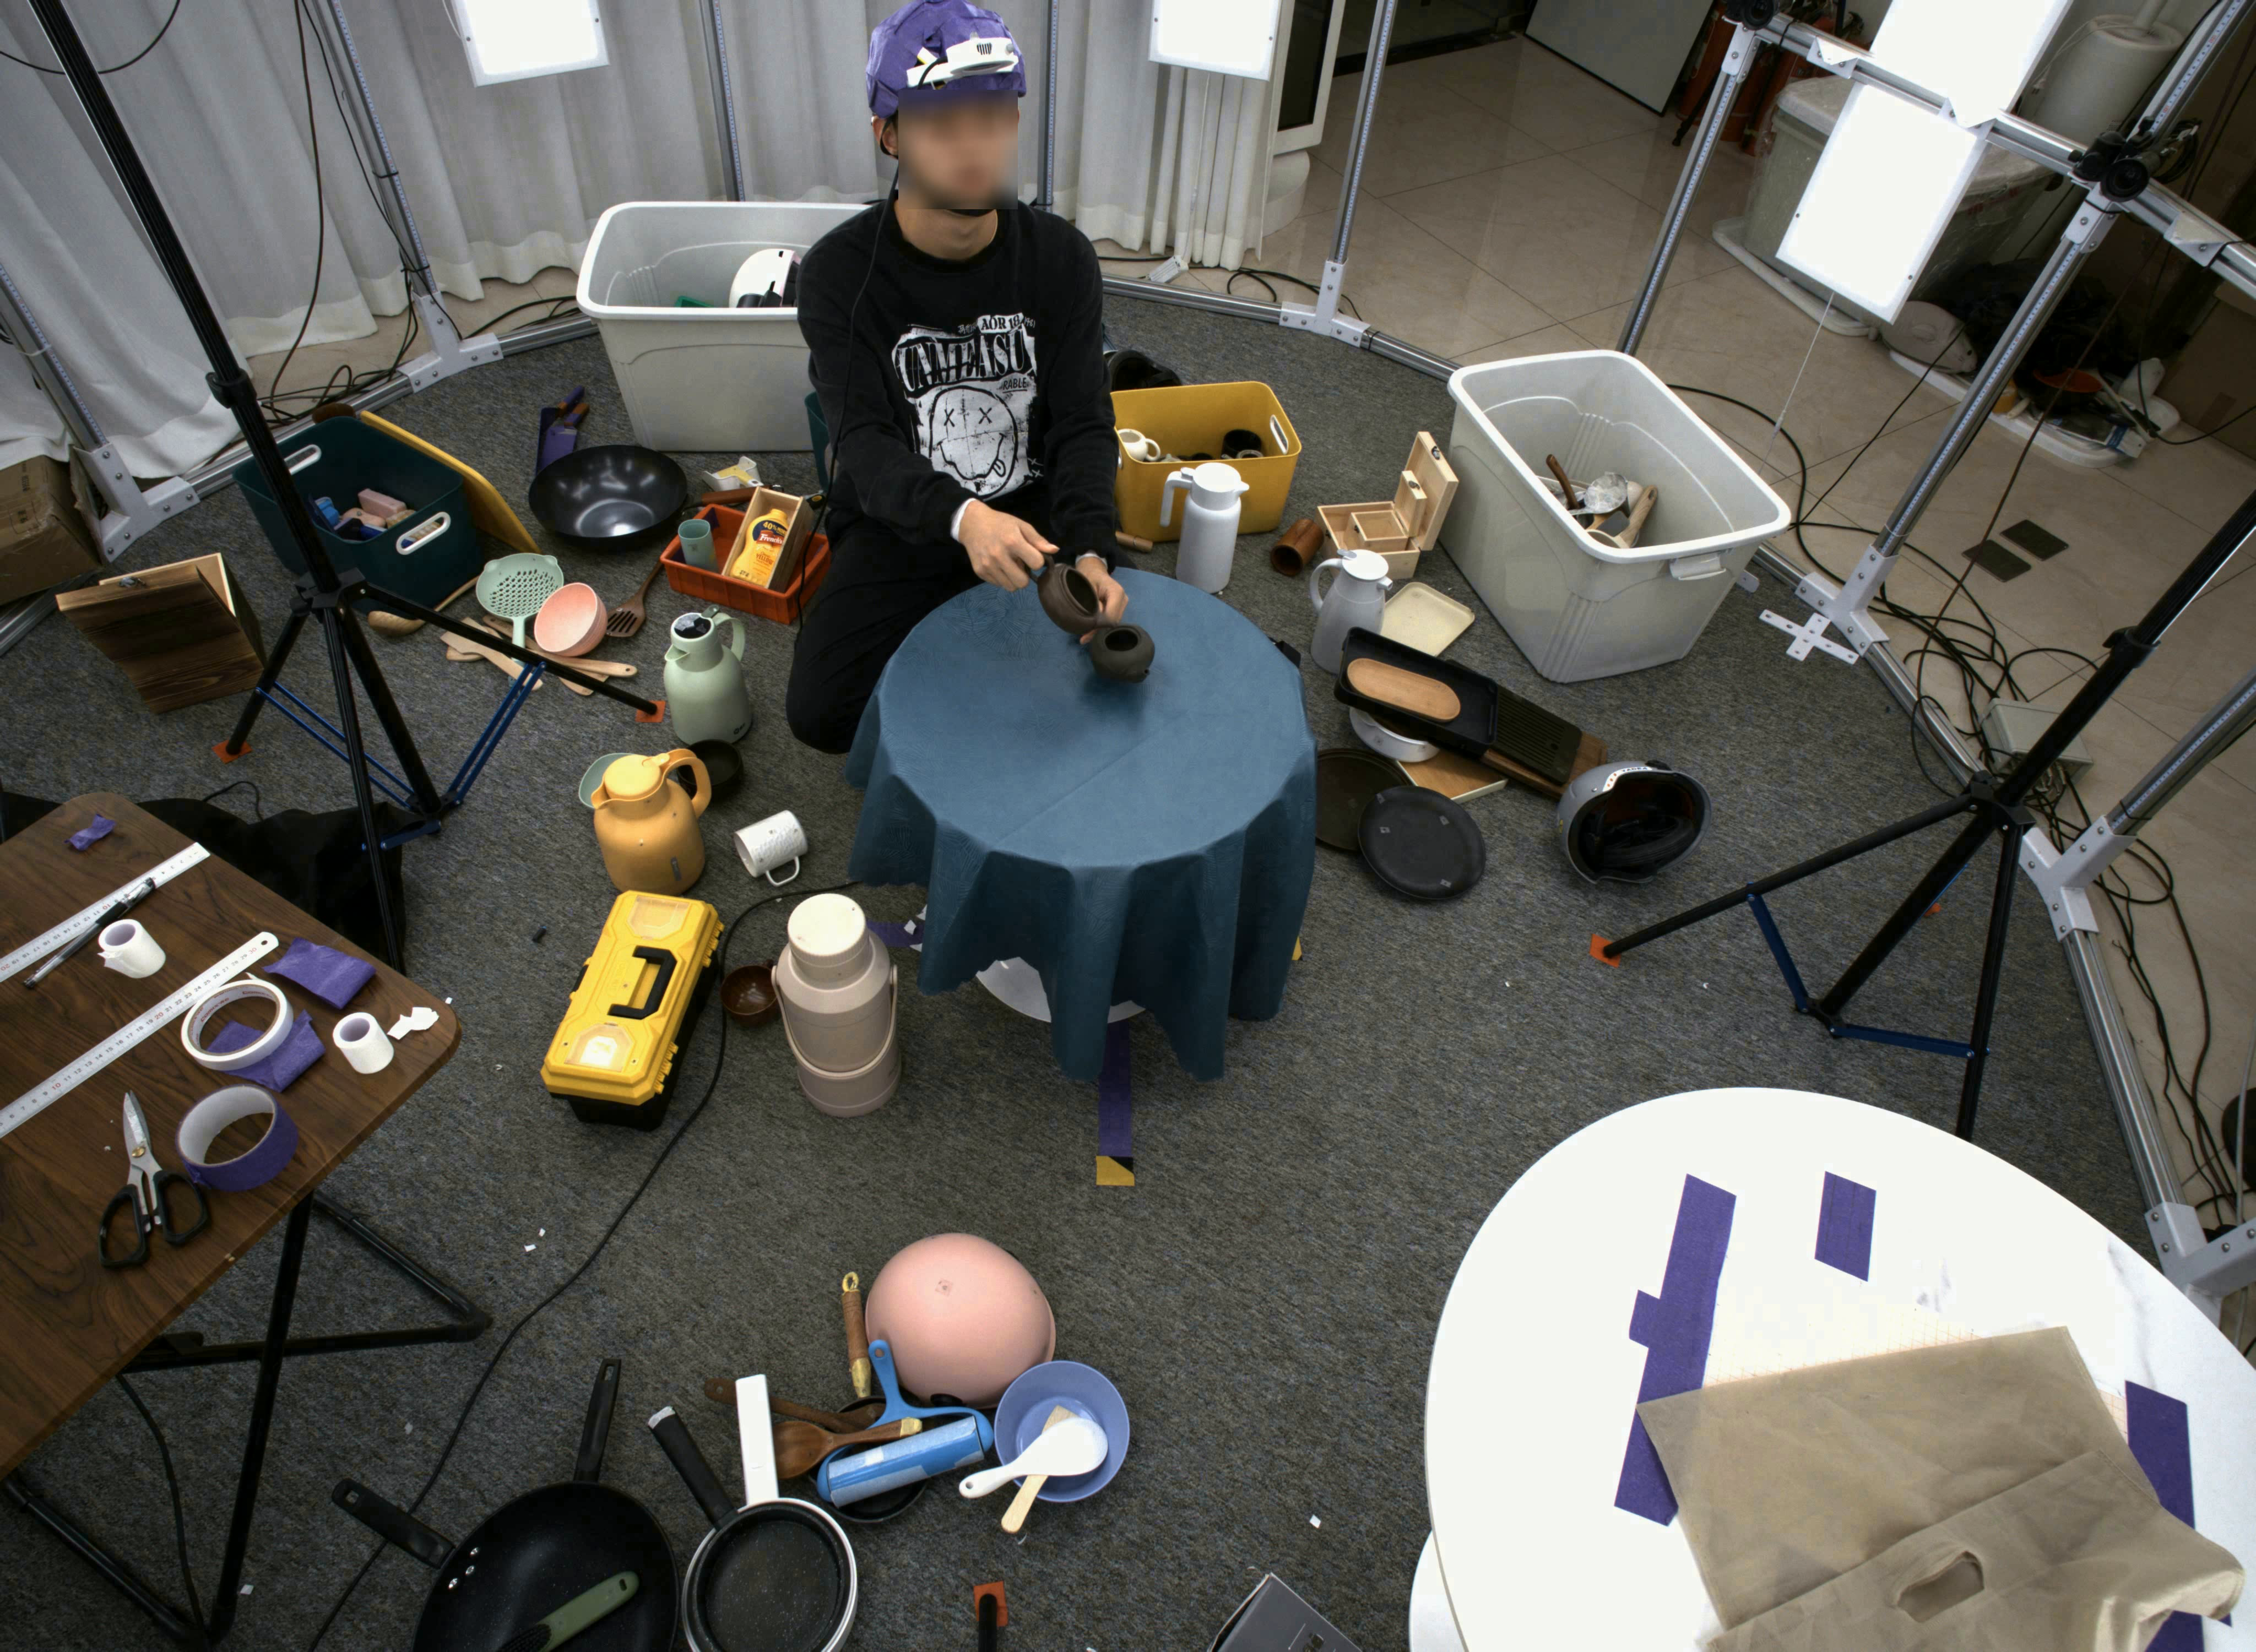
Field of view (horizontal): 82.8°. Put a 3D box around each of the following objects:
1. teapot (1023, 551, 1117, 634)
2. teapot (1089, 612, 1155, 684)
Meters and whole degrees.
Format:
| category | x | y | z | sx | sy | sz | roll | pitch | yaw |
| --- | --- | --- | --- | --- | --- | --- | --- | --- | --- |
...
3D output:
| category | x | y | z | sx | sy | sz | roll | pitch | yaw |
| --- | --- | --- | --- | --- | --- | --- | --- | --- | --- |
| teapot | -0.082 | -0.310 | 1.730 | 0.151 | 0.053 | 0.105 | 41 | 34 | -28 |
| teapot | -0.010 | -0.249 | 1.827 | 0.092 | 0.063 | 0.158 | -20 | 51 | -18 |
